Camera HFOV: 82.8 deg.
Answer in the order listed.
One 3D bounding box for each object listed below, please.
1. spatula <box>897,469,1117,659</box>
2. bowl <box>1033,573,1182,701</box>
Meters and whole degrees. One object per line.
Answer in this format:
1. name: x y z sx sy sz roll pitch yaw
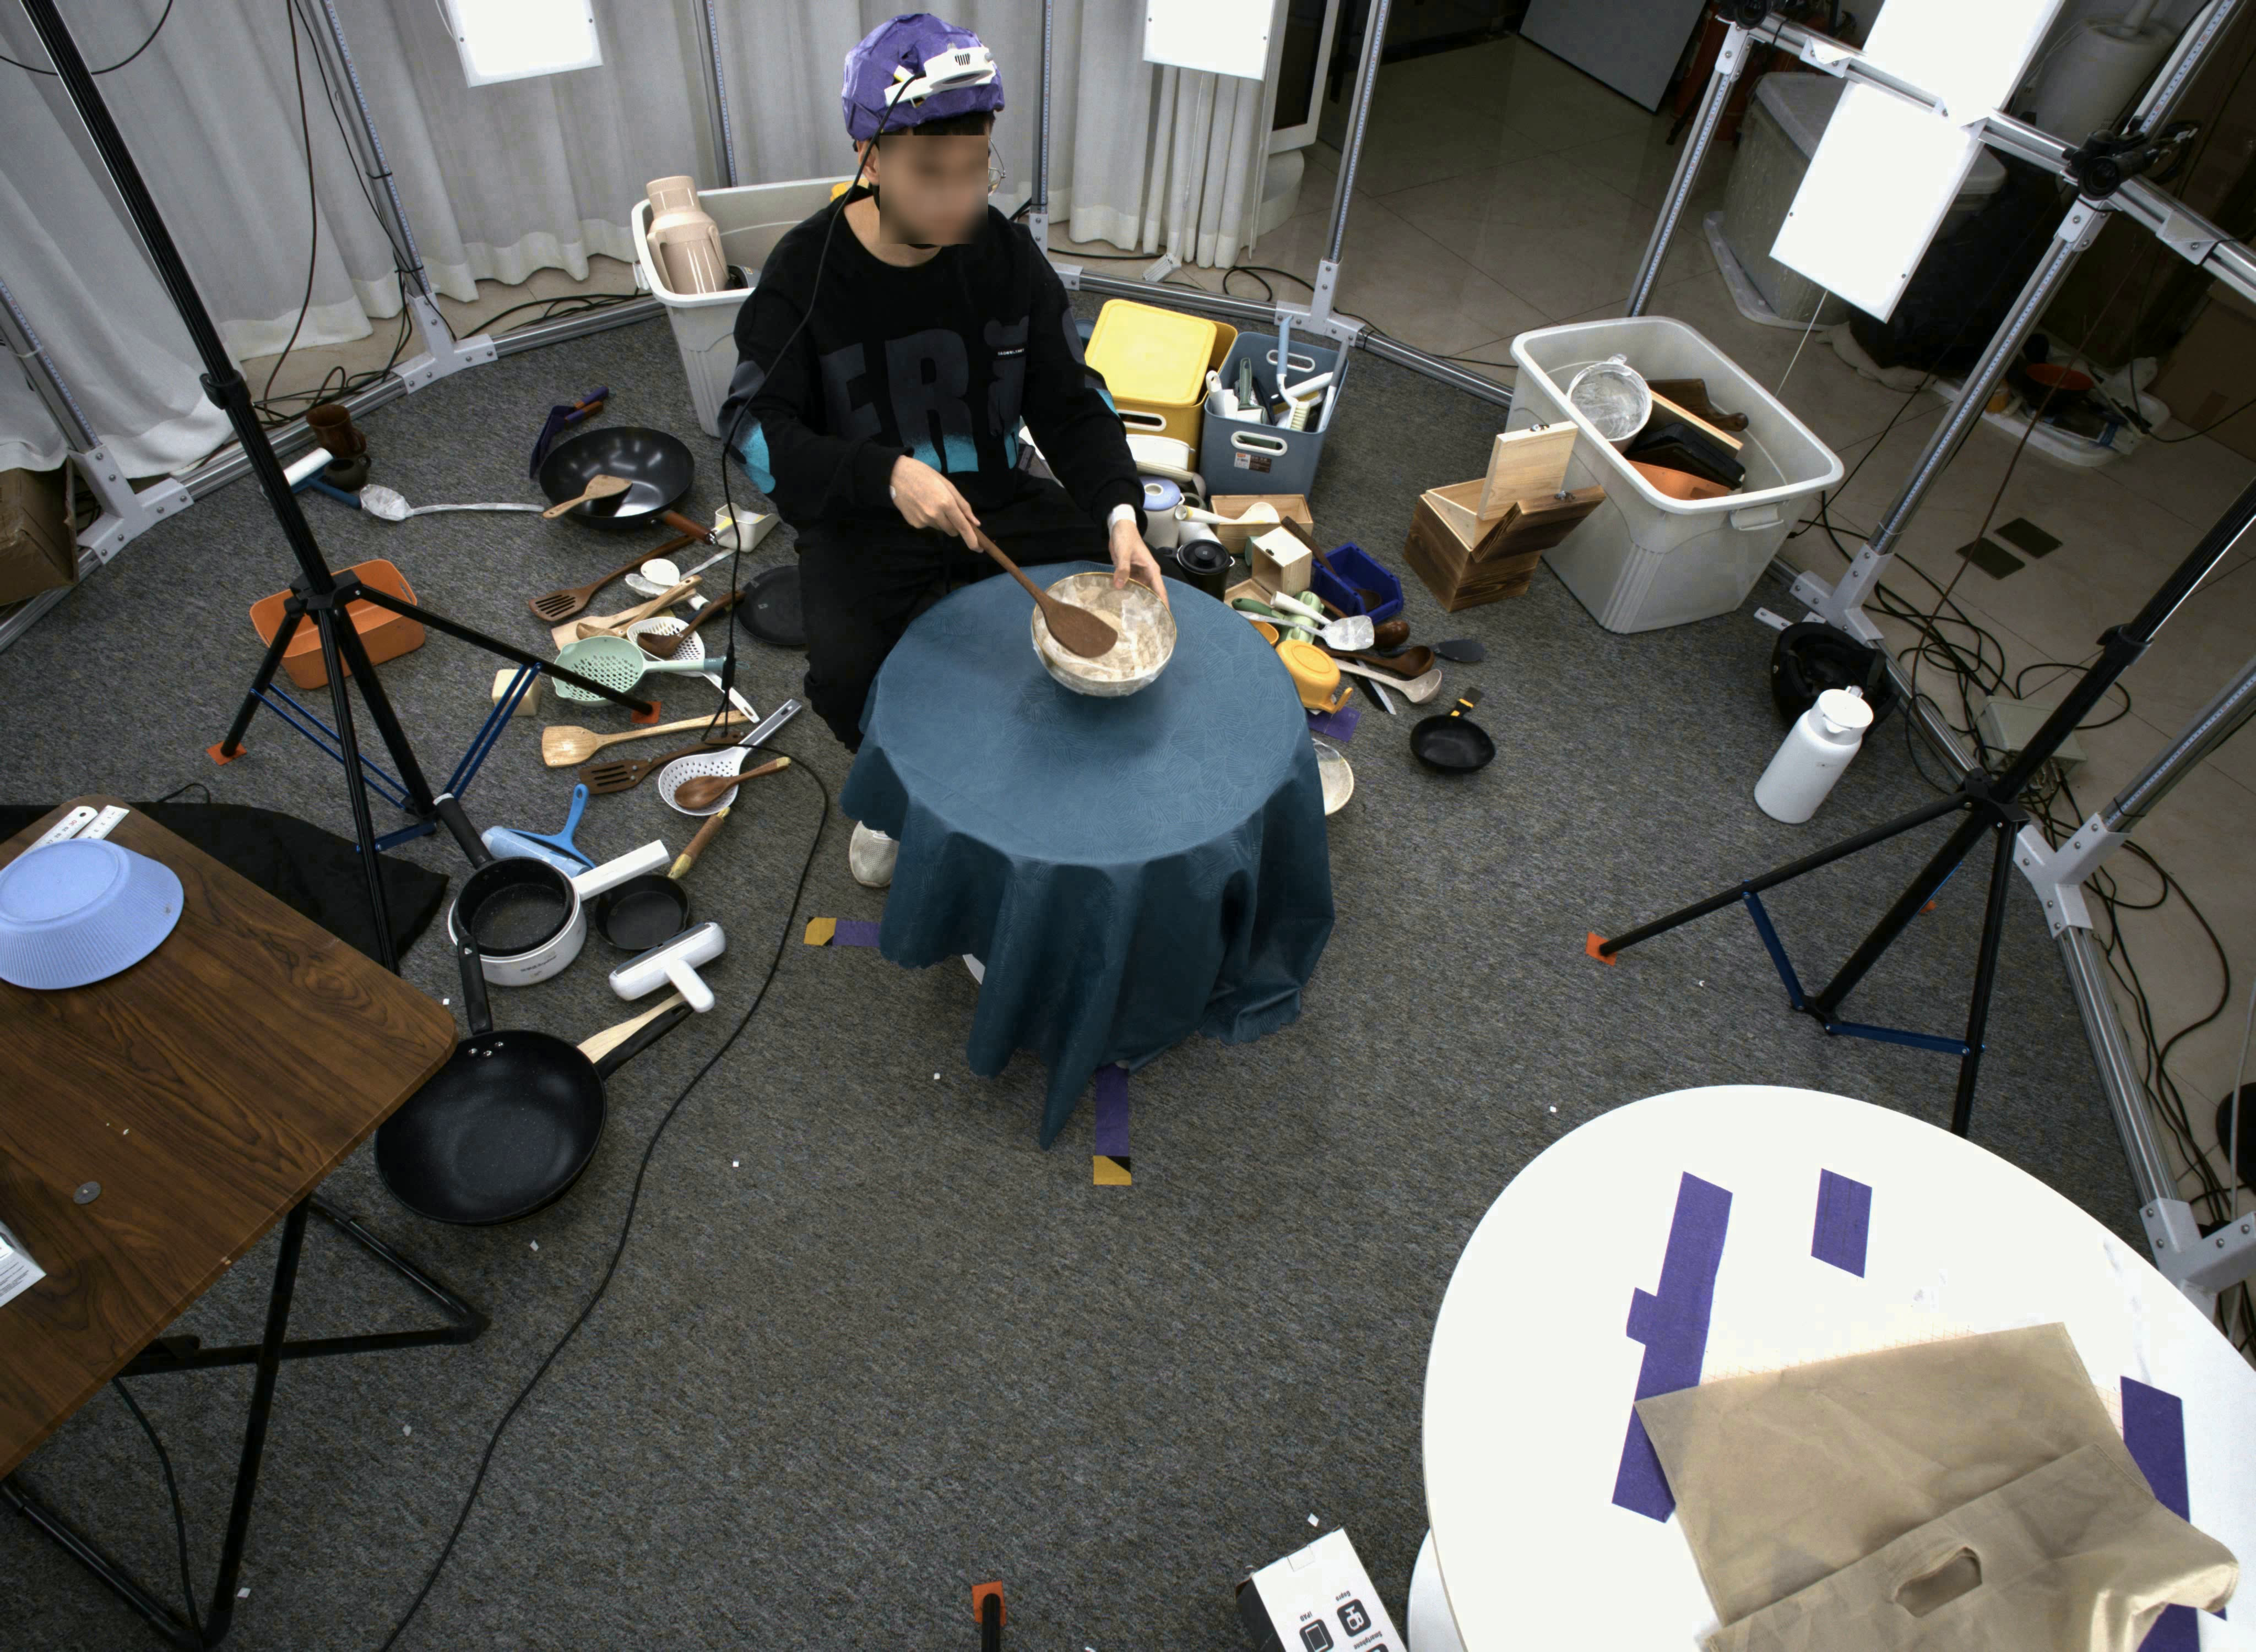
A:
1. spatula: -0.171 -0.361 1.752 0.388 0.015 0.097 43 42 7
2. bowl: -0.034 -0.252 1.814 0.214 0.092 0.220 3 53 -4
